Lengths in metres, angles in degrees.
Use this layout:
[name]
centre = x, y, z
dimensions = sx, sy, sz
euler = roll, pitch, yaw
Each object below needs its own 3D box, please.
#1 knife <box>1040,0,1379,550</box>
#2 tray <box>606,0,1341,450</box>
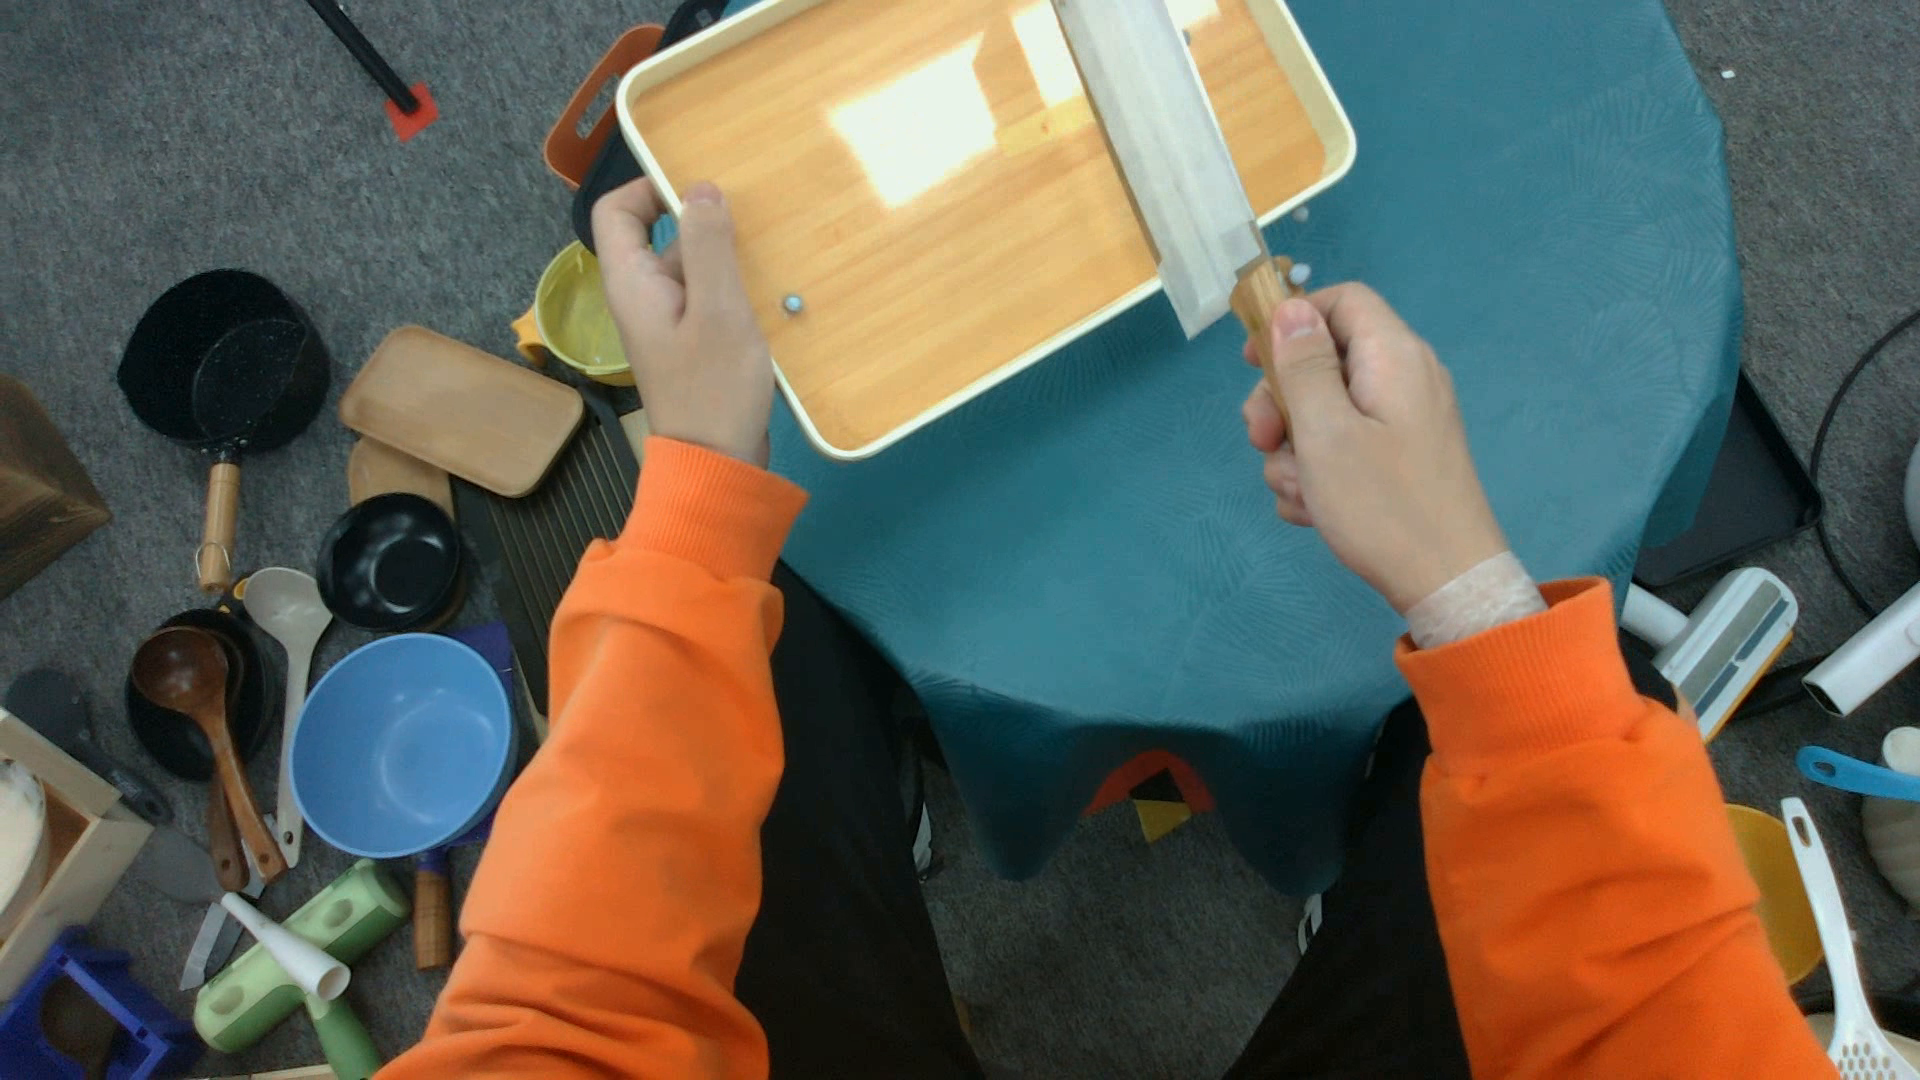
[knife]
centre = 0.091, -0.135, 0.575
dimensions = 0.021, 0.092, 0.306
euler = -22, 88, -15
[tray]
centre = 0.014, -0.190, 0.628
dimensions = 0.301, 0.027, 0.191
euler = -31, 95, -13
